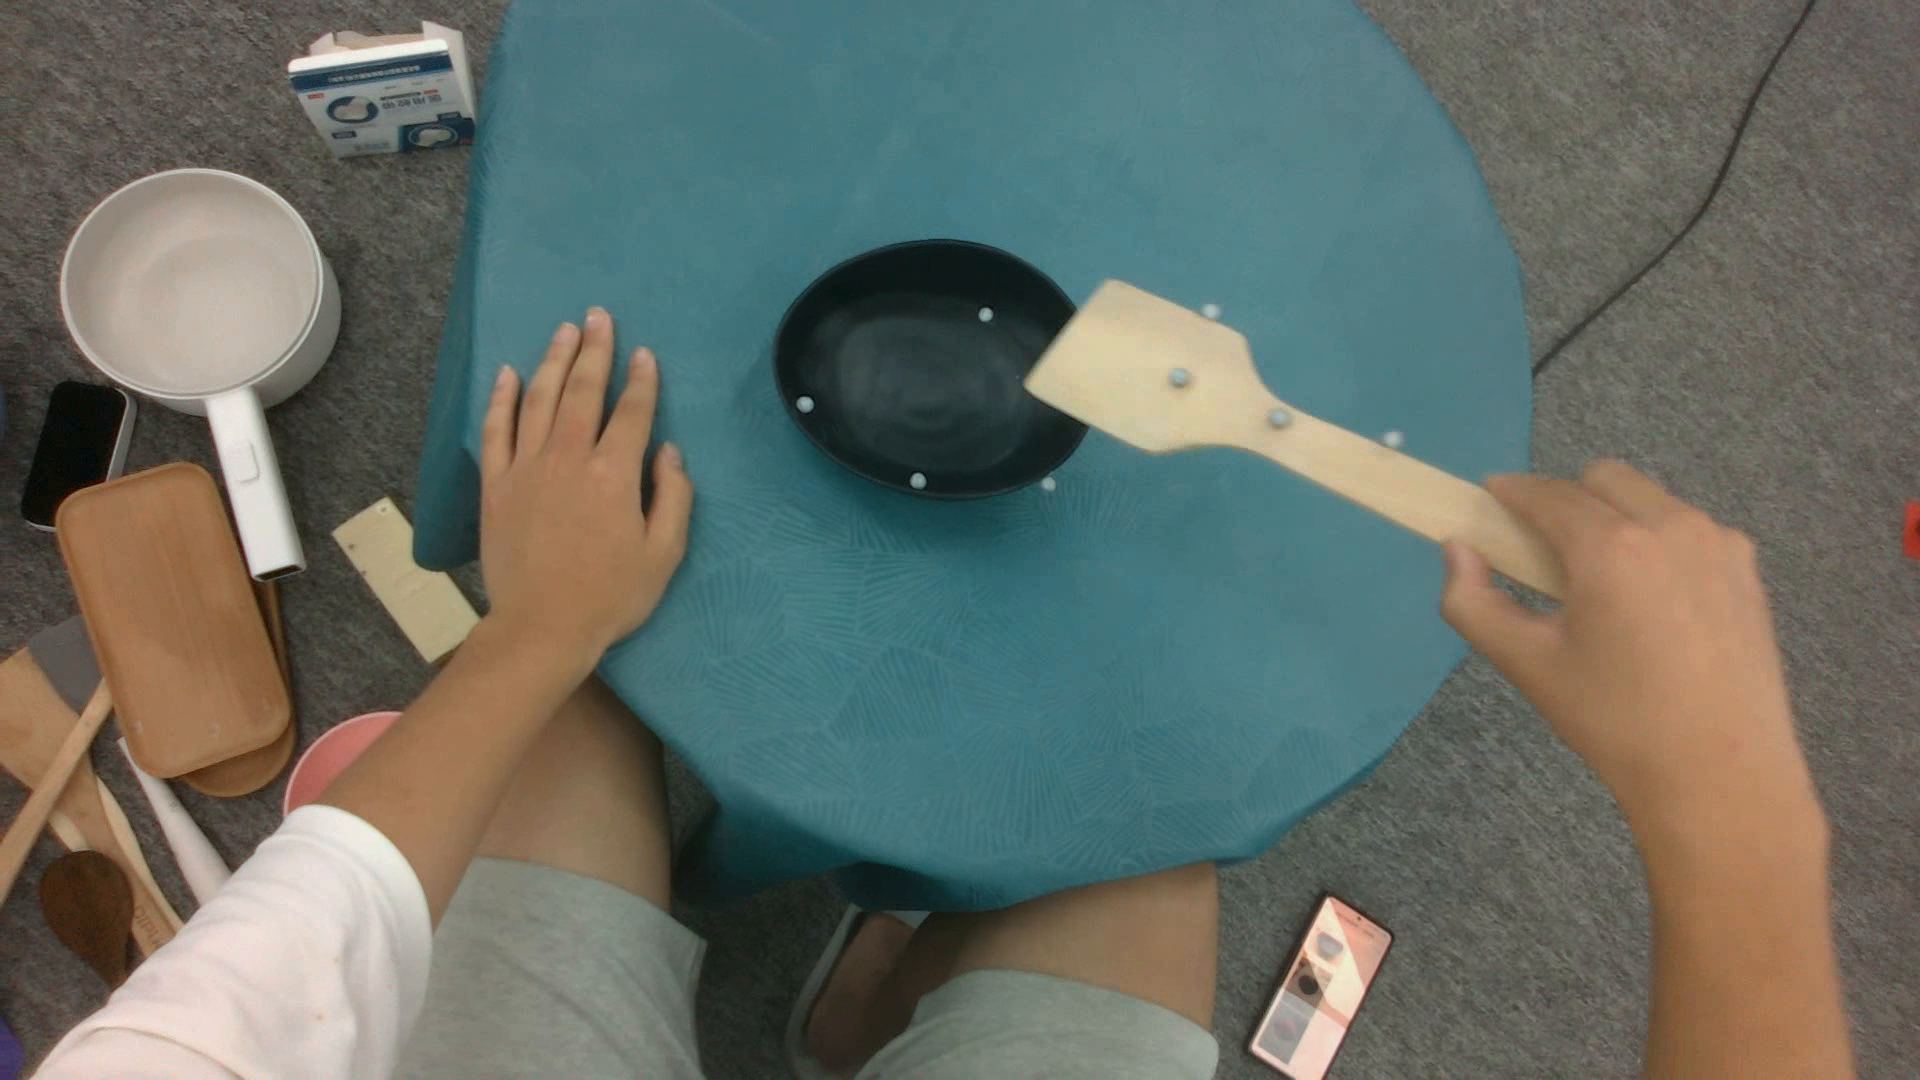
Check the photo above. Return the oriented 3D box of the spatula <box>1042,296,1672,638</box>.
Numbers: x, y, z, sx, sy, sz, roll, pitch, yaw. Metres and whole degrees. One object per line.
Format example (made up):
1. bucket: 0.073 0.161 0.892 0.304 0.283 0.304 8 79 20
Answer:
1. spatula: 0.155 -0.034 0.583 0.293 0.010 0.072 32 82 39

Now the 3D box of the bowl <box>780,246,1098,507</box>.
1. bowl: -0.011 -0.080 0.733 0.170 0.066 0.137 2 79 -7
